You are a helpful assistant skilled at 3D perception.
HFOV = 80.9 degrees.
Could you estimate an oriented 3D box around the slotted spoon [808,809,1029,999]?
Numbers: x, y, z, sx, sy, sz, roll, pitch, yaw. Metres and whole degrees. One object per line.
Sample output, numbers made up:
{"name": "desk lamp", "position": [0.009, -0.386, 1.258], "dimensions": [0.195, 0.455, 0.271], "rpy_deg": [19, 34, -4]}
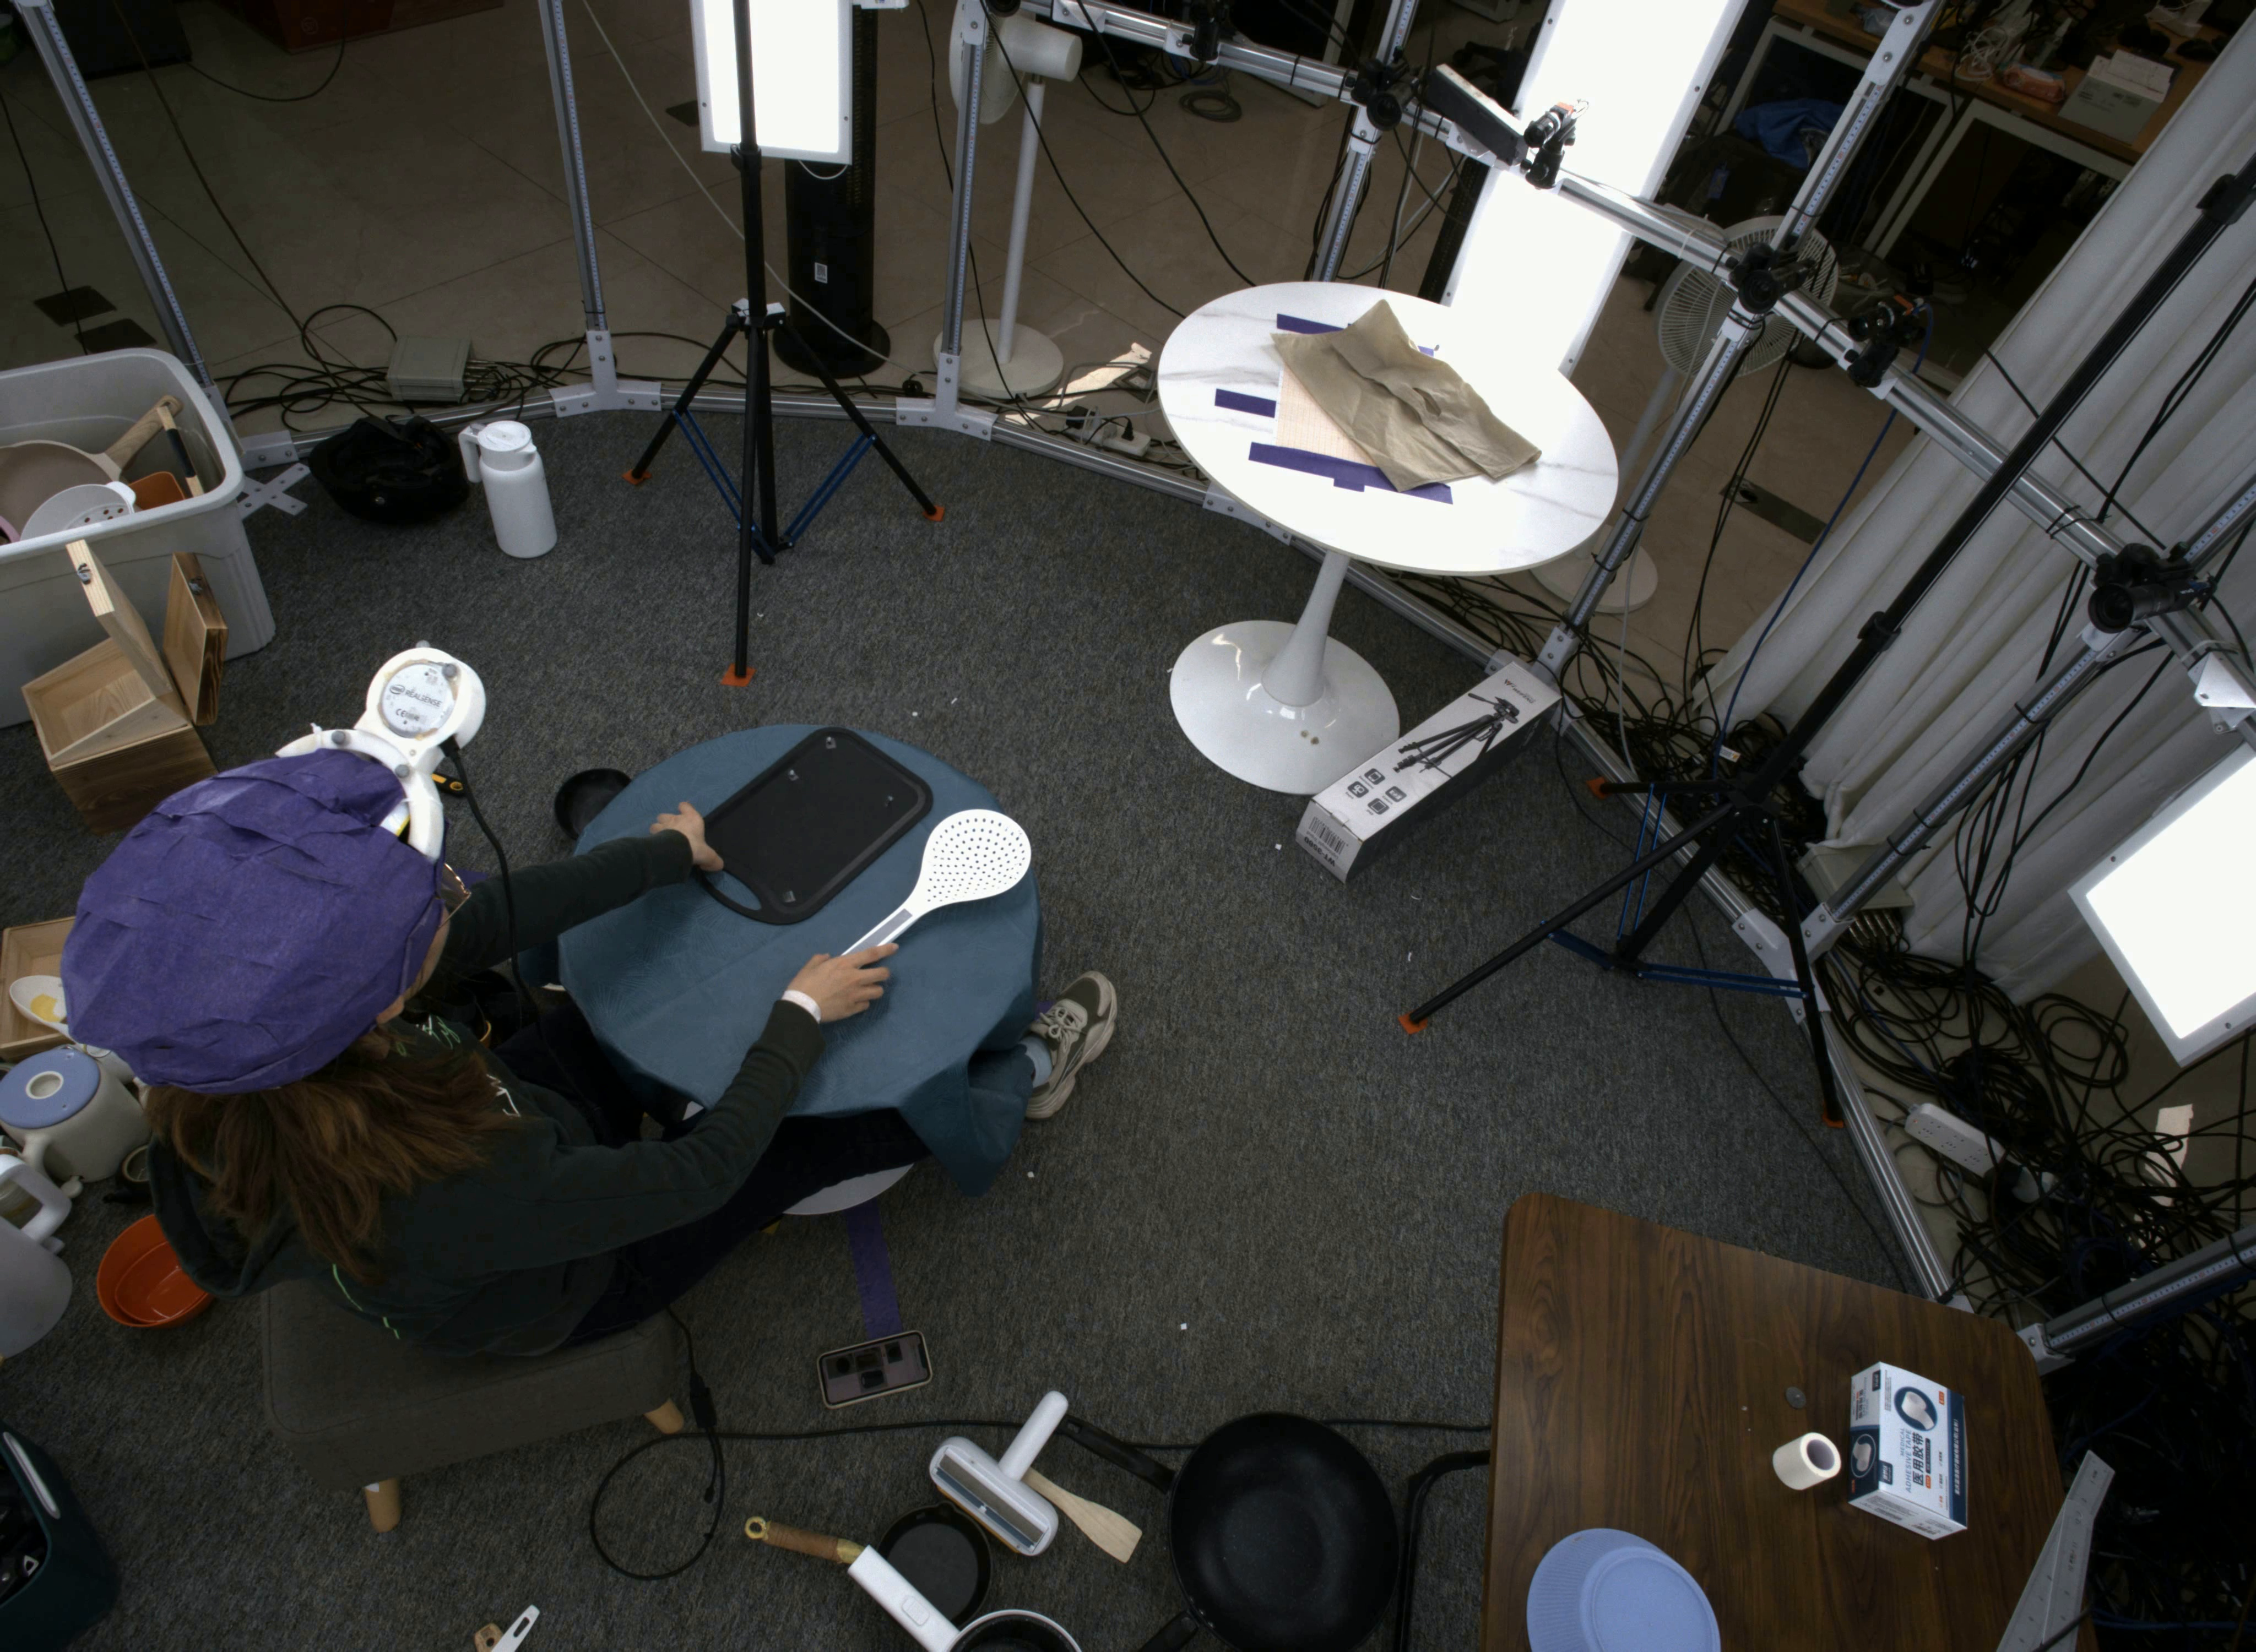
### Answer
{"name": "slotted spoon", "position": [-0.269, 0.099, 1.666], "dimensions": [0.133, 0.047, 0.350], "rpy_deg": [38, 55, 18]}

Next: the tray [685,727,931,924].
{"name": "tray", "position": [-0.427, -0.005, 1.728], "dimensions": [0.207, 0.010, 0.325], "rpy_deg": [34, 54, 12]}
